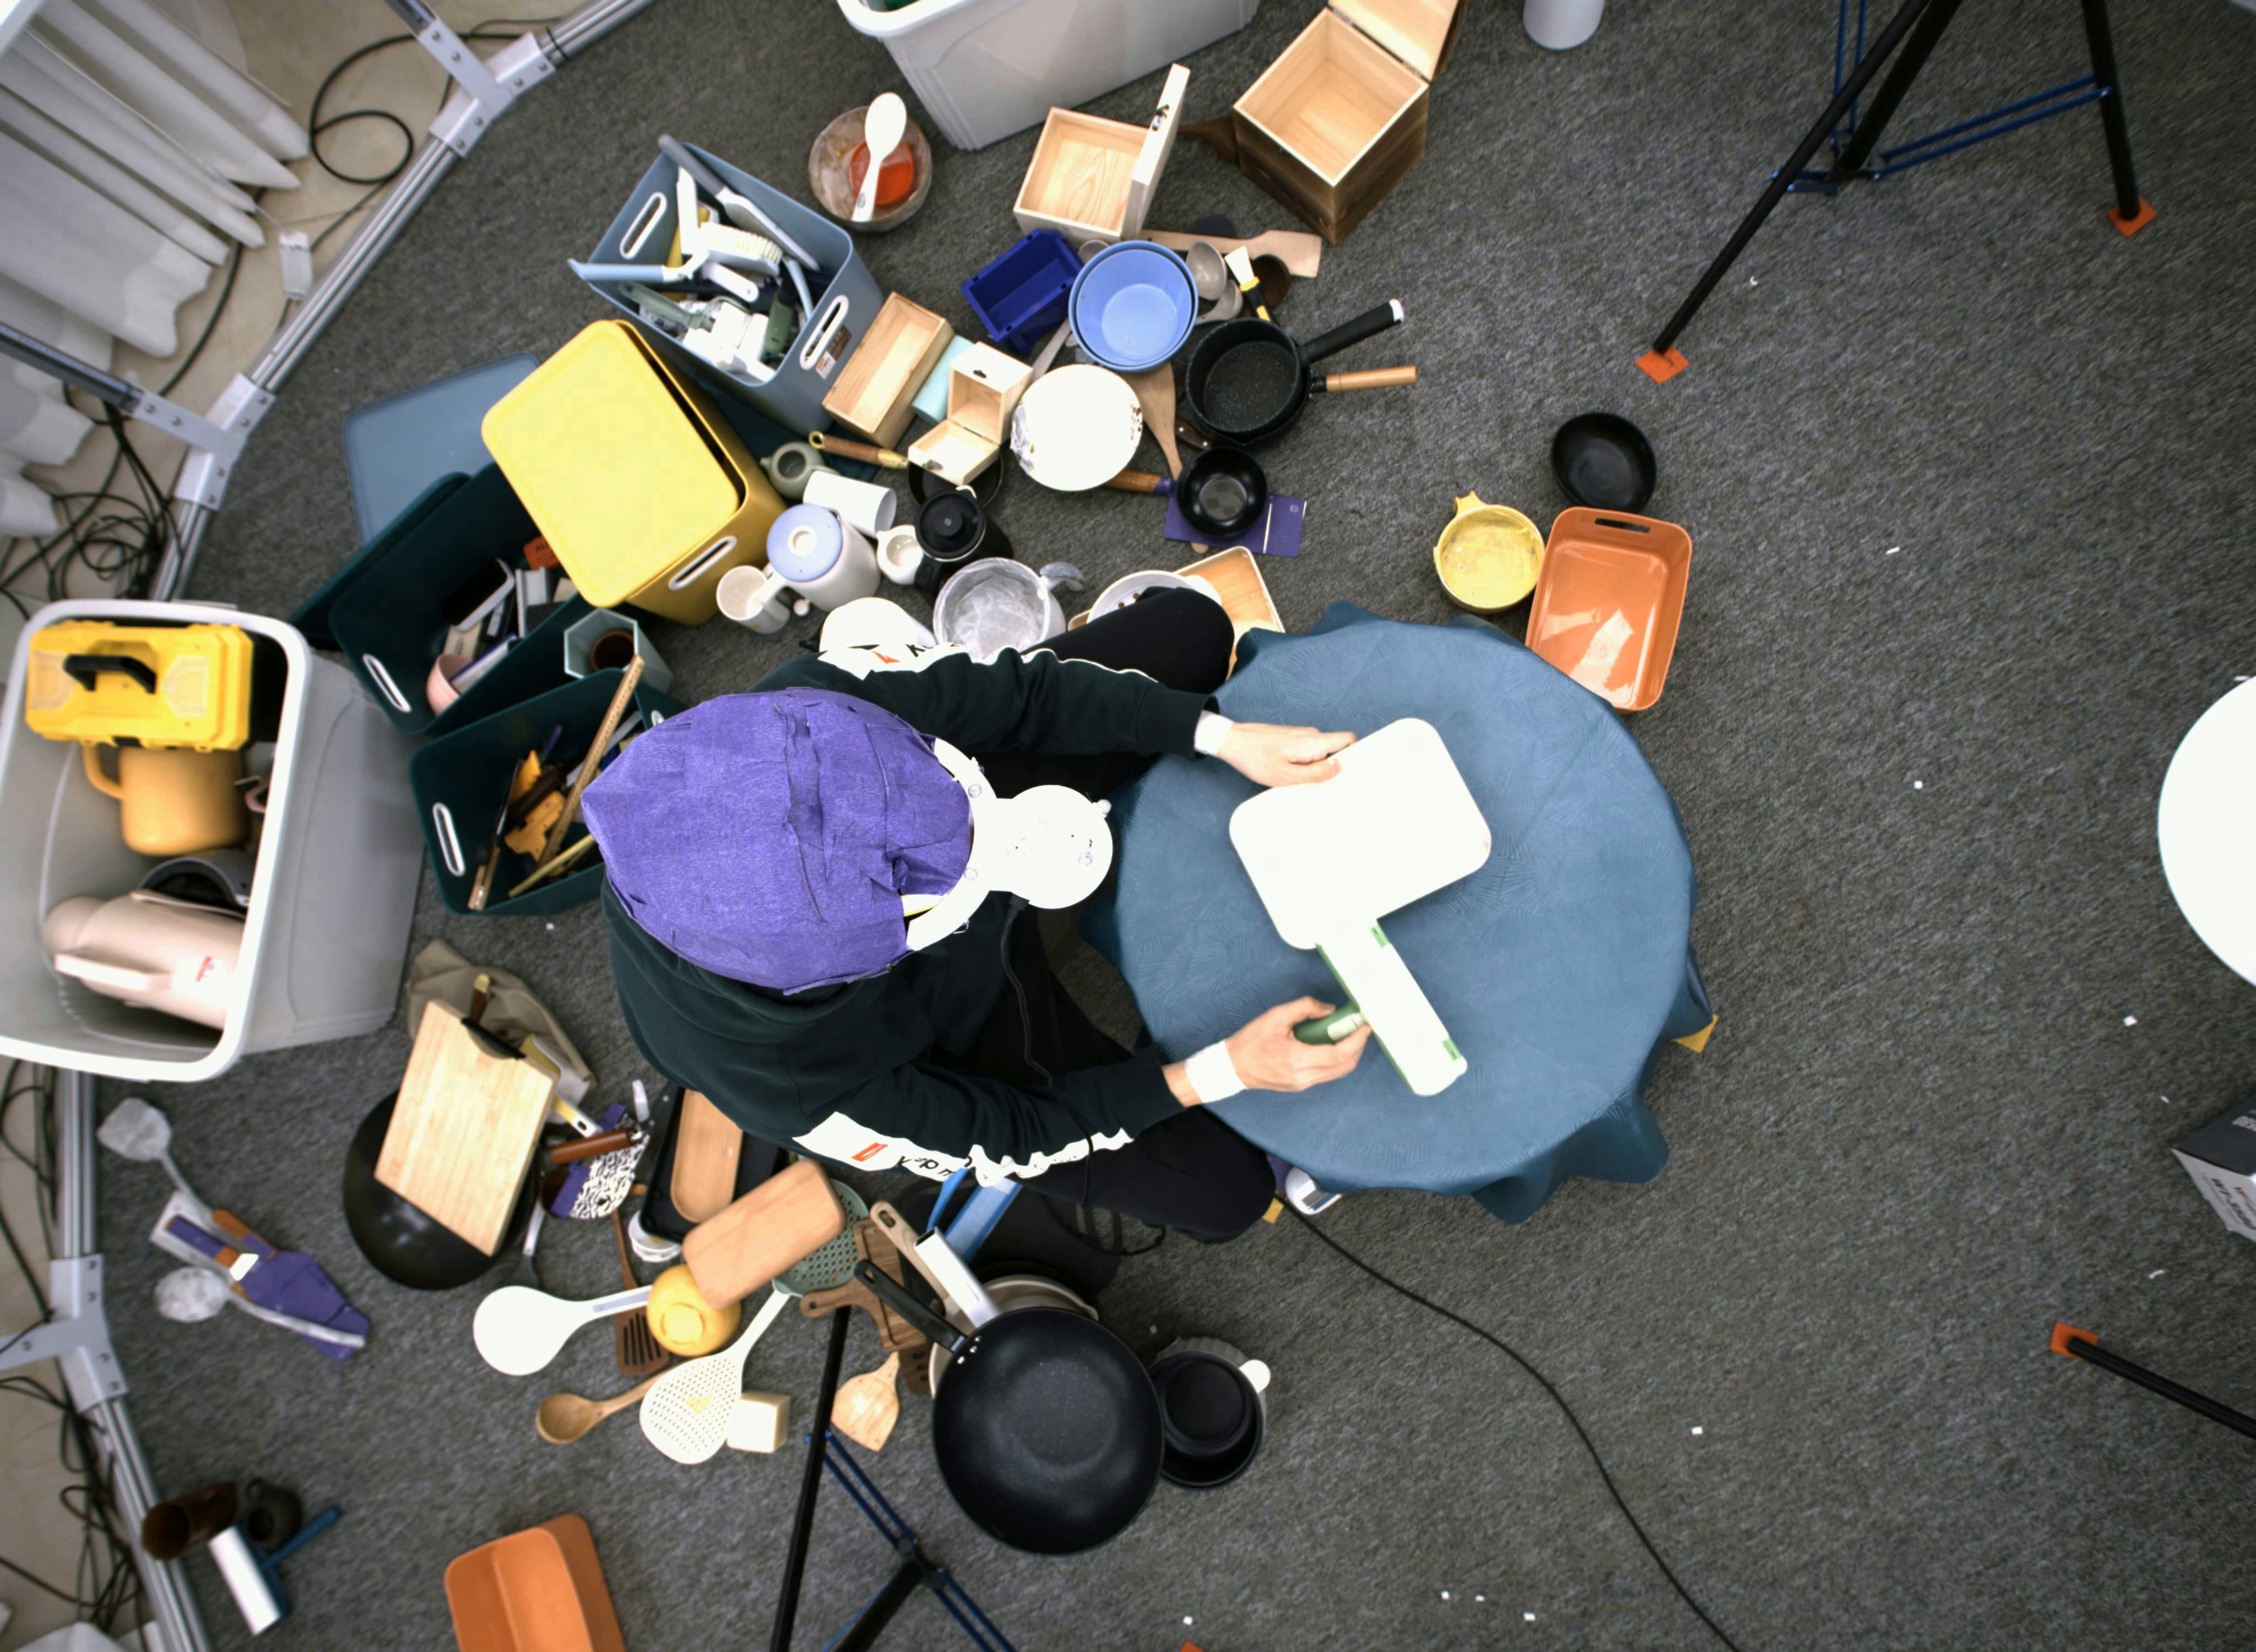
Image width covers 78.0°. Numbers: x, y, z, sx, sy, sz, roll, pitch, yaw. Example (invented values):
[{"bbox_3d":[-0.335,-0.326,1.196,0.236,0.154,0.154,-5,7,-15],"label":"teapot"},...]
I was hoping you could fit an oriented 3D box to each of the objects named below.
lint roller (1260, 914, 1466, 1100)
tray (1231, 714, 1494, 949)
[{"bbox_3d":[0.210,0.206,1.374,0.185,0.081,0.199,-30,100,15],"label":"lint roller"},{"bbox_3d":[0.238,0.006,1.411,0.242,0.017,0.171,-29,87,18],"label":"tray"}]
